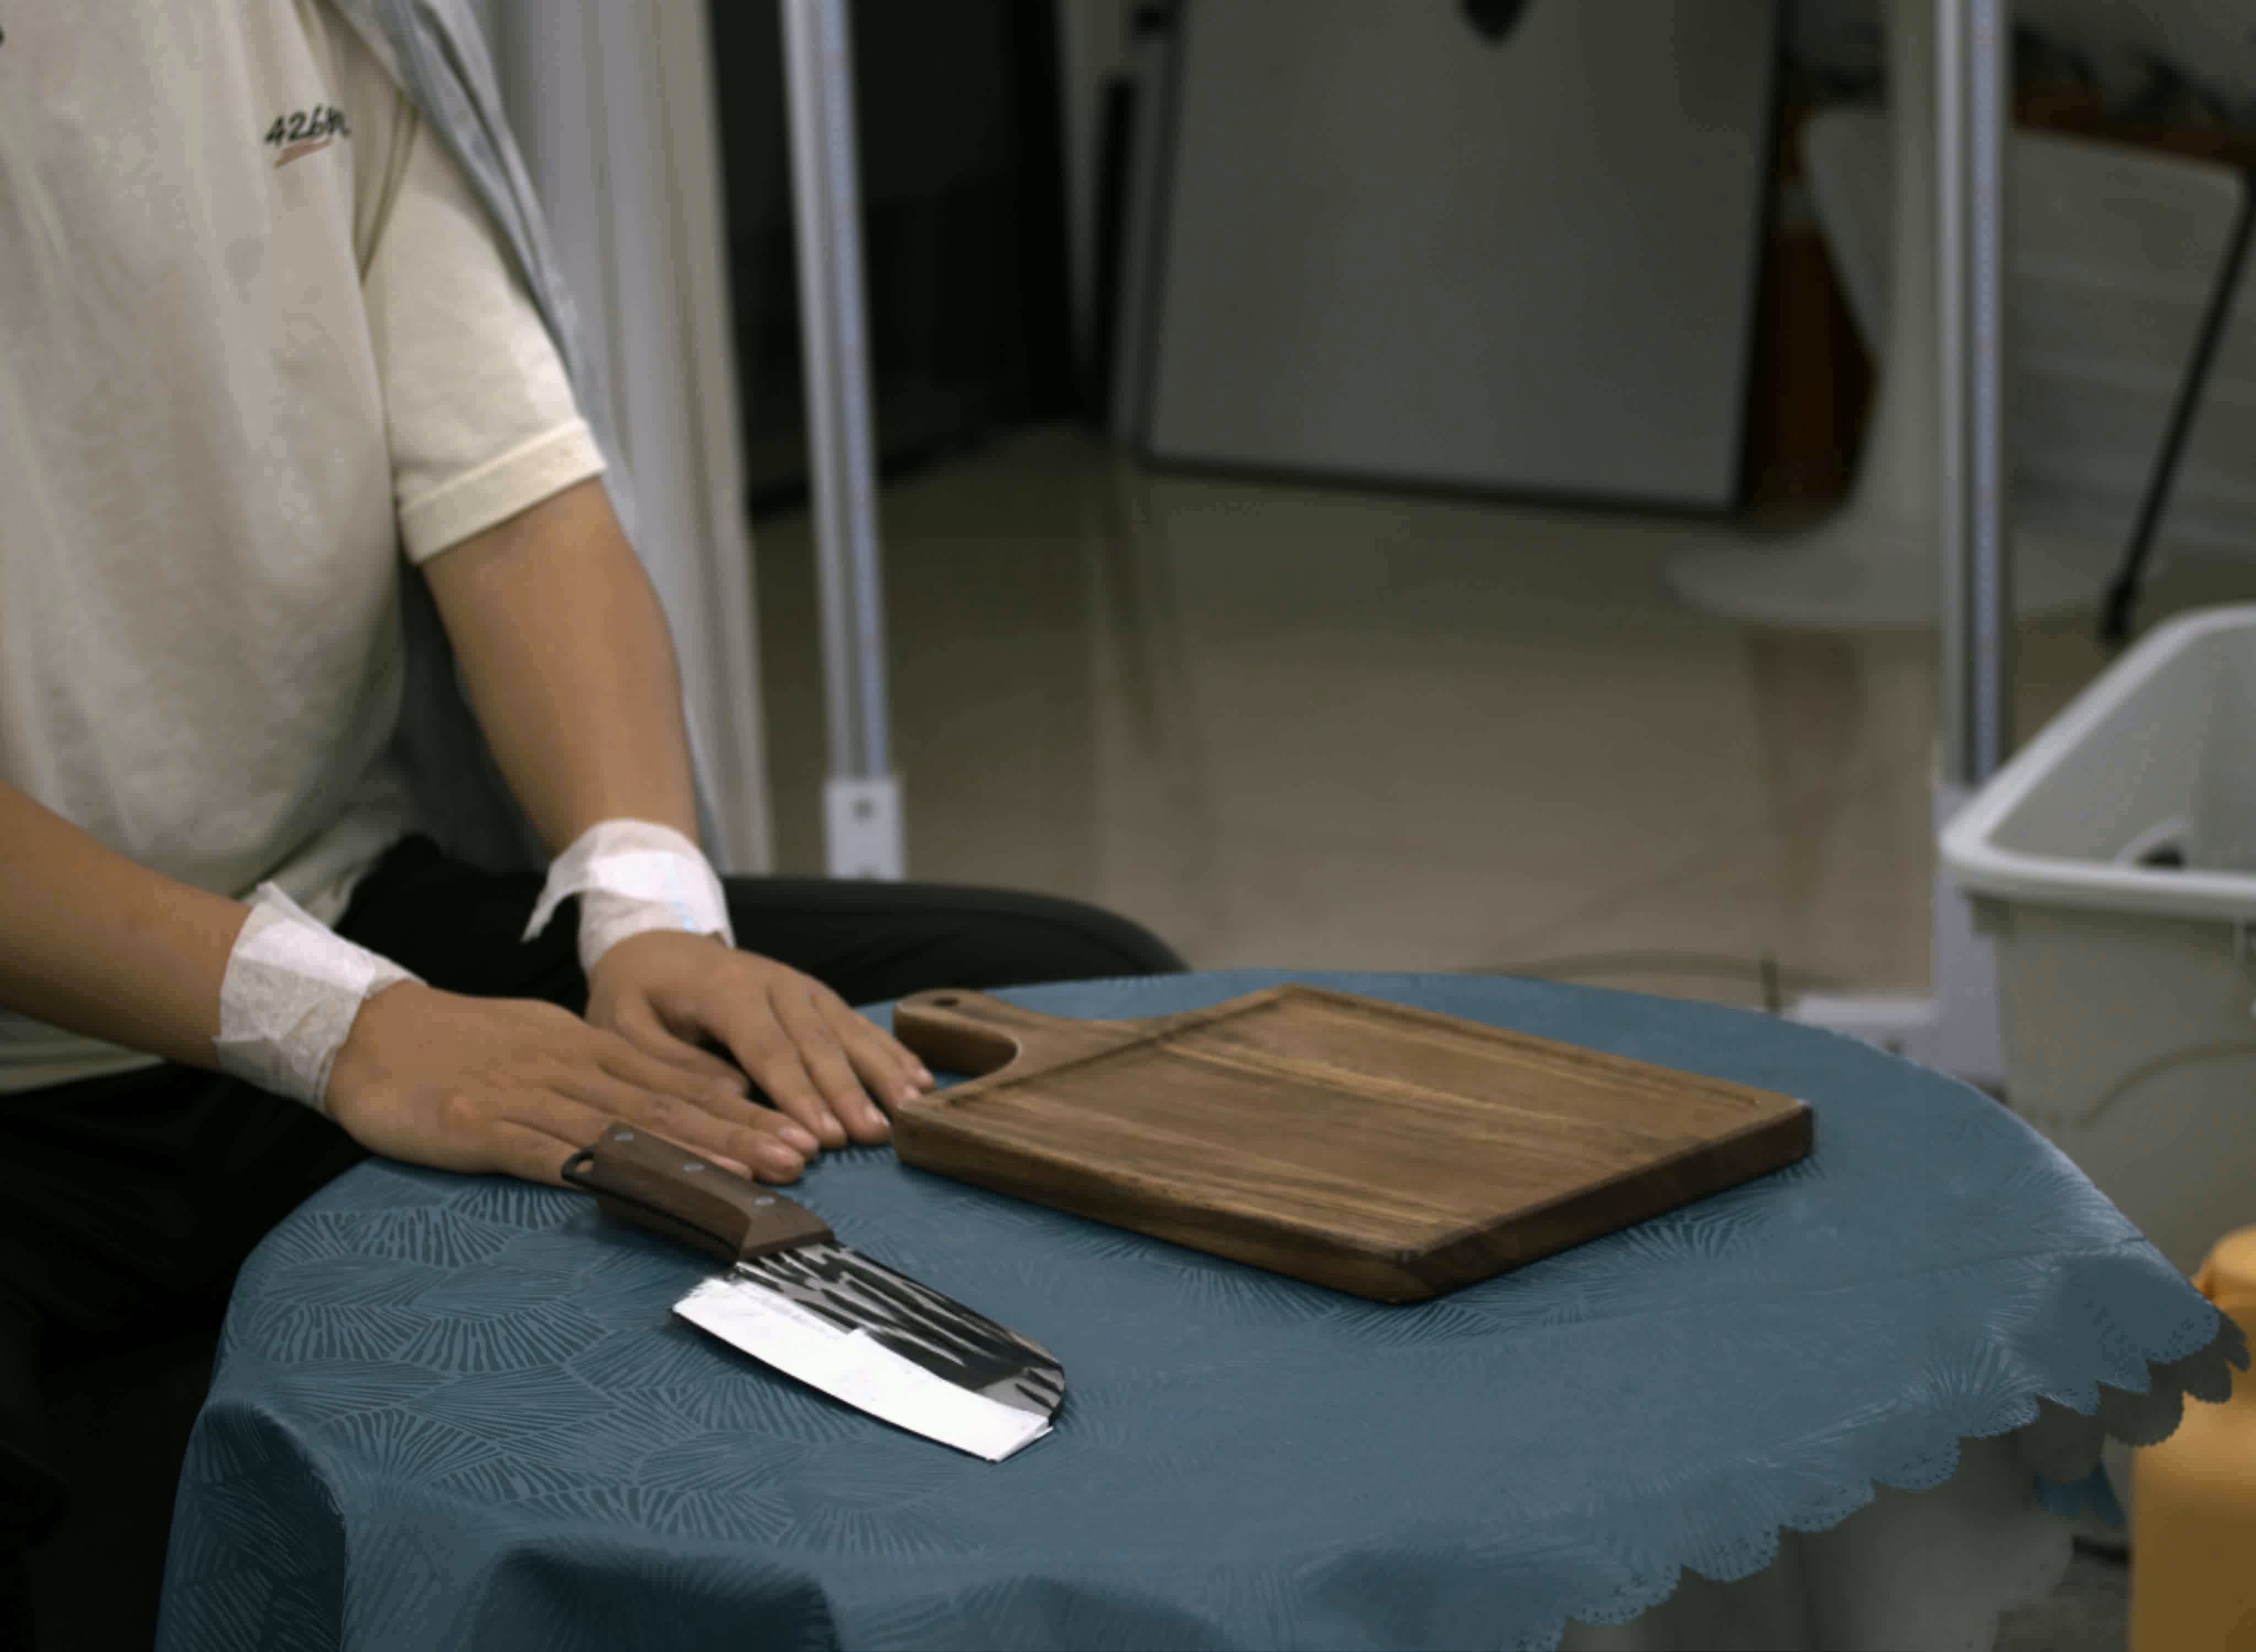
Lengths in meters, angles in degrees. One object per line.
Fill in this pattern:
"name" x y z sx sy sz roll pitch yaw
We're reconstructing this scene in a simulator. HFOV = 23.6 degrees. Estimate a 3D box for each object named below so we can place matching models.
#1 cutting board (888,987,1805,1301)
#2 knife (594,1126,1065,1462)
"cutting board" 0.039 0.095 1.827 0.197 0.023 0.356 -16 17 -39
"knife" -0.103 0.145 1.670 0.066 0.024 0.303 -15 20 -31
